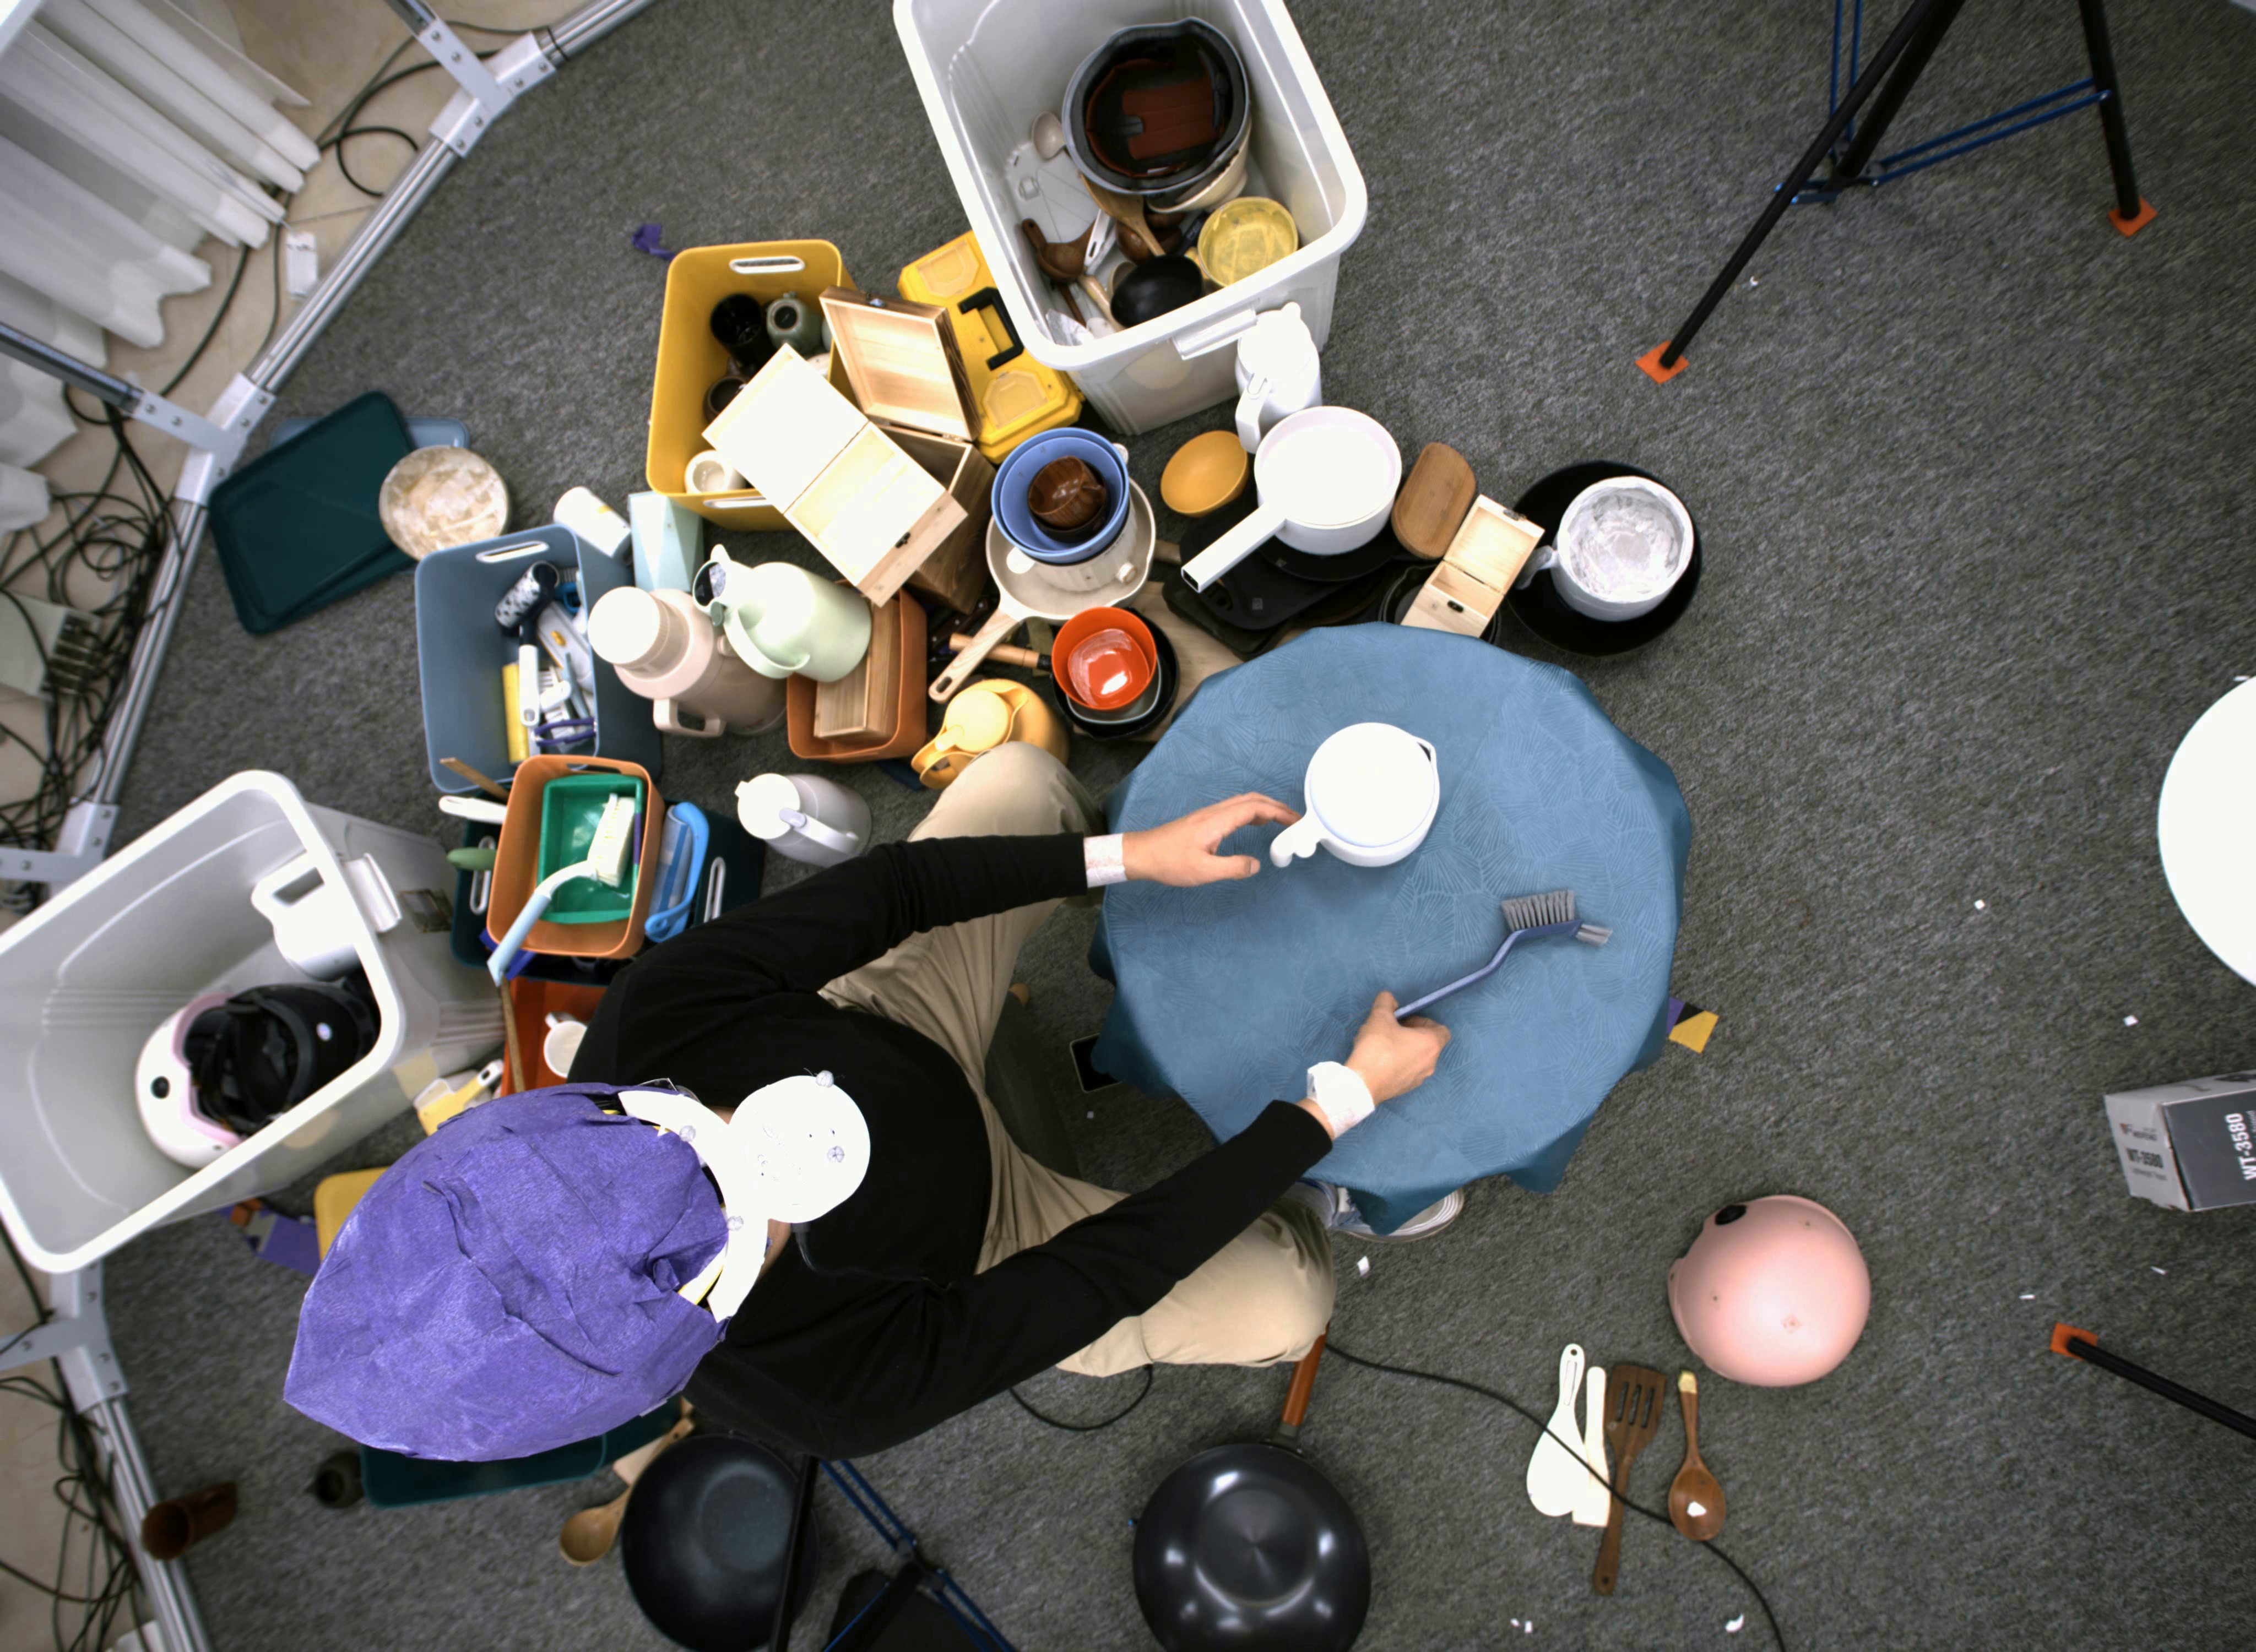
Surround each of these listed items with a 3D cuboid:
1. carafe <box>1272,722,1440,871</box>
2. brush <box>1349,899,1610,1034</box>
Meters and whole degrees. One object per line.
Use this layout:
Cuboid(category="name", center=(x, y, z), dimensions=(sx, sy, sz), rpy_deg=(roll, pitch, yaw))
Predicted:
Cuboid(category="carafe", center=(0.223, -0.017, 1.387), dimensions=(0.192, 0.182, 0.131), rpy_deg=(-35, 80, 7))
Cuboid(category="brush", center=(0.356, 0.158, 1.412), dimensions=(0.273, 0.034, 0.095), rpy_deg=(-34, 81, 0))
